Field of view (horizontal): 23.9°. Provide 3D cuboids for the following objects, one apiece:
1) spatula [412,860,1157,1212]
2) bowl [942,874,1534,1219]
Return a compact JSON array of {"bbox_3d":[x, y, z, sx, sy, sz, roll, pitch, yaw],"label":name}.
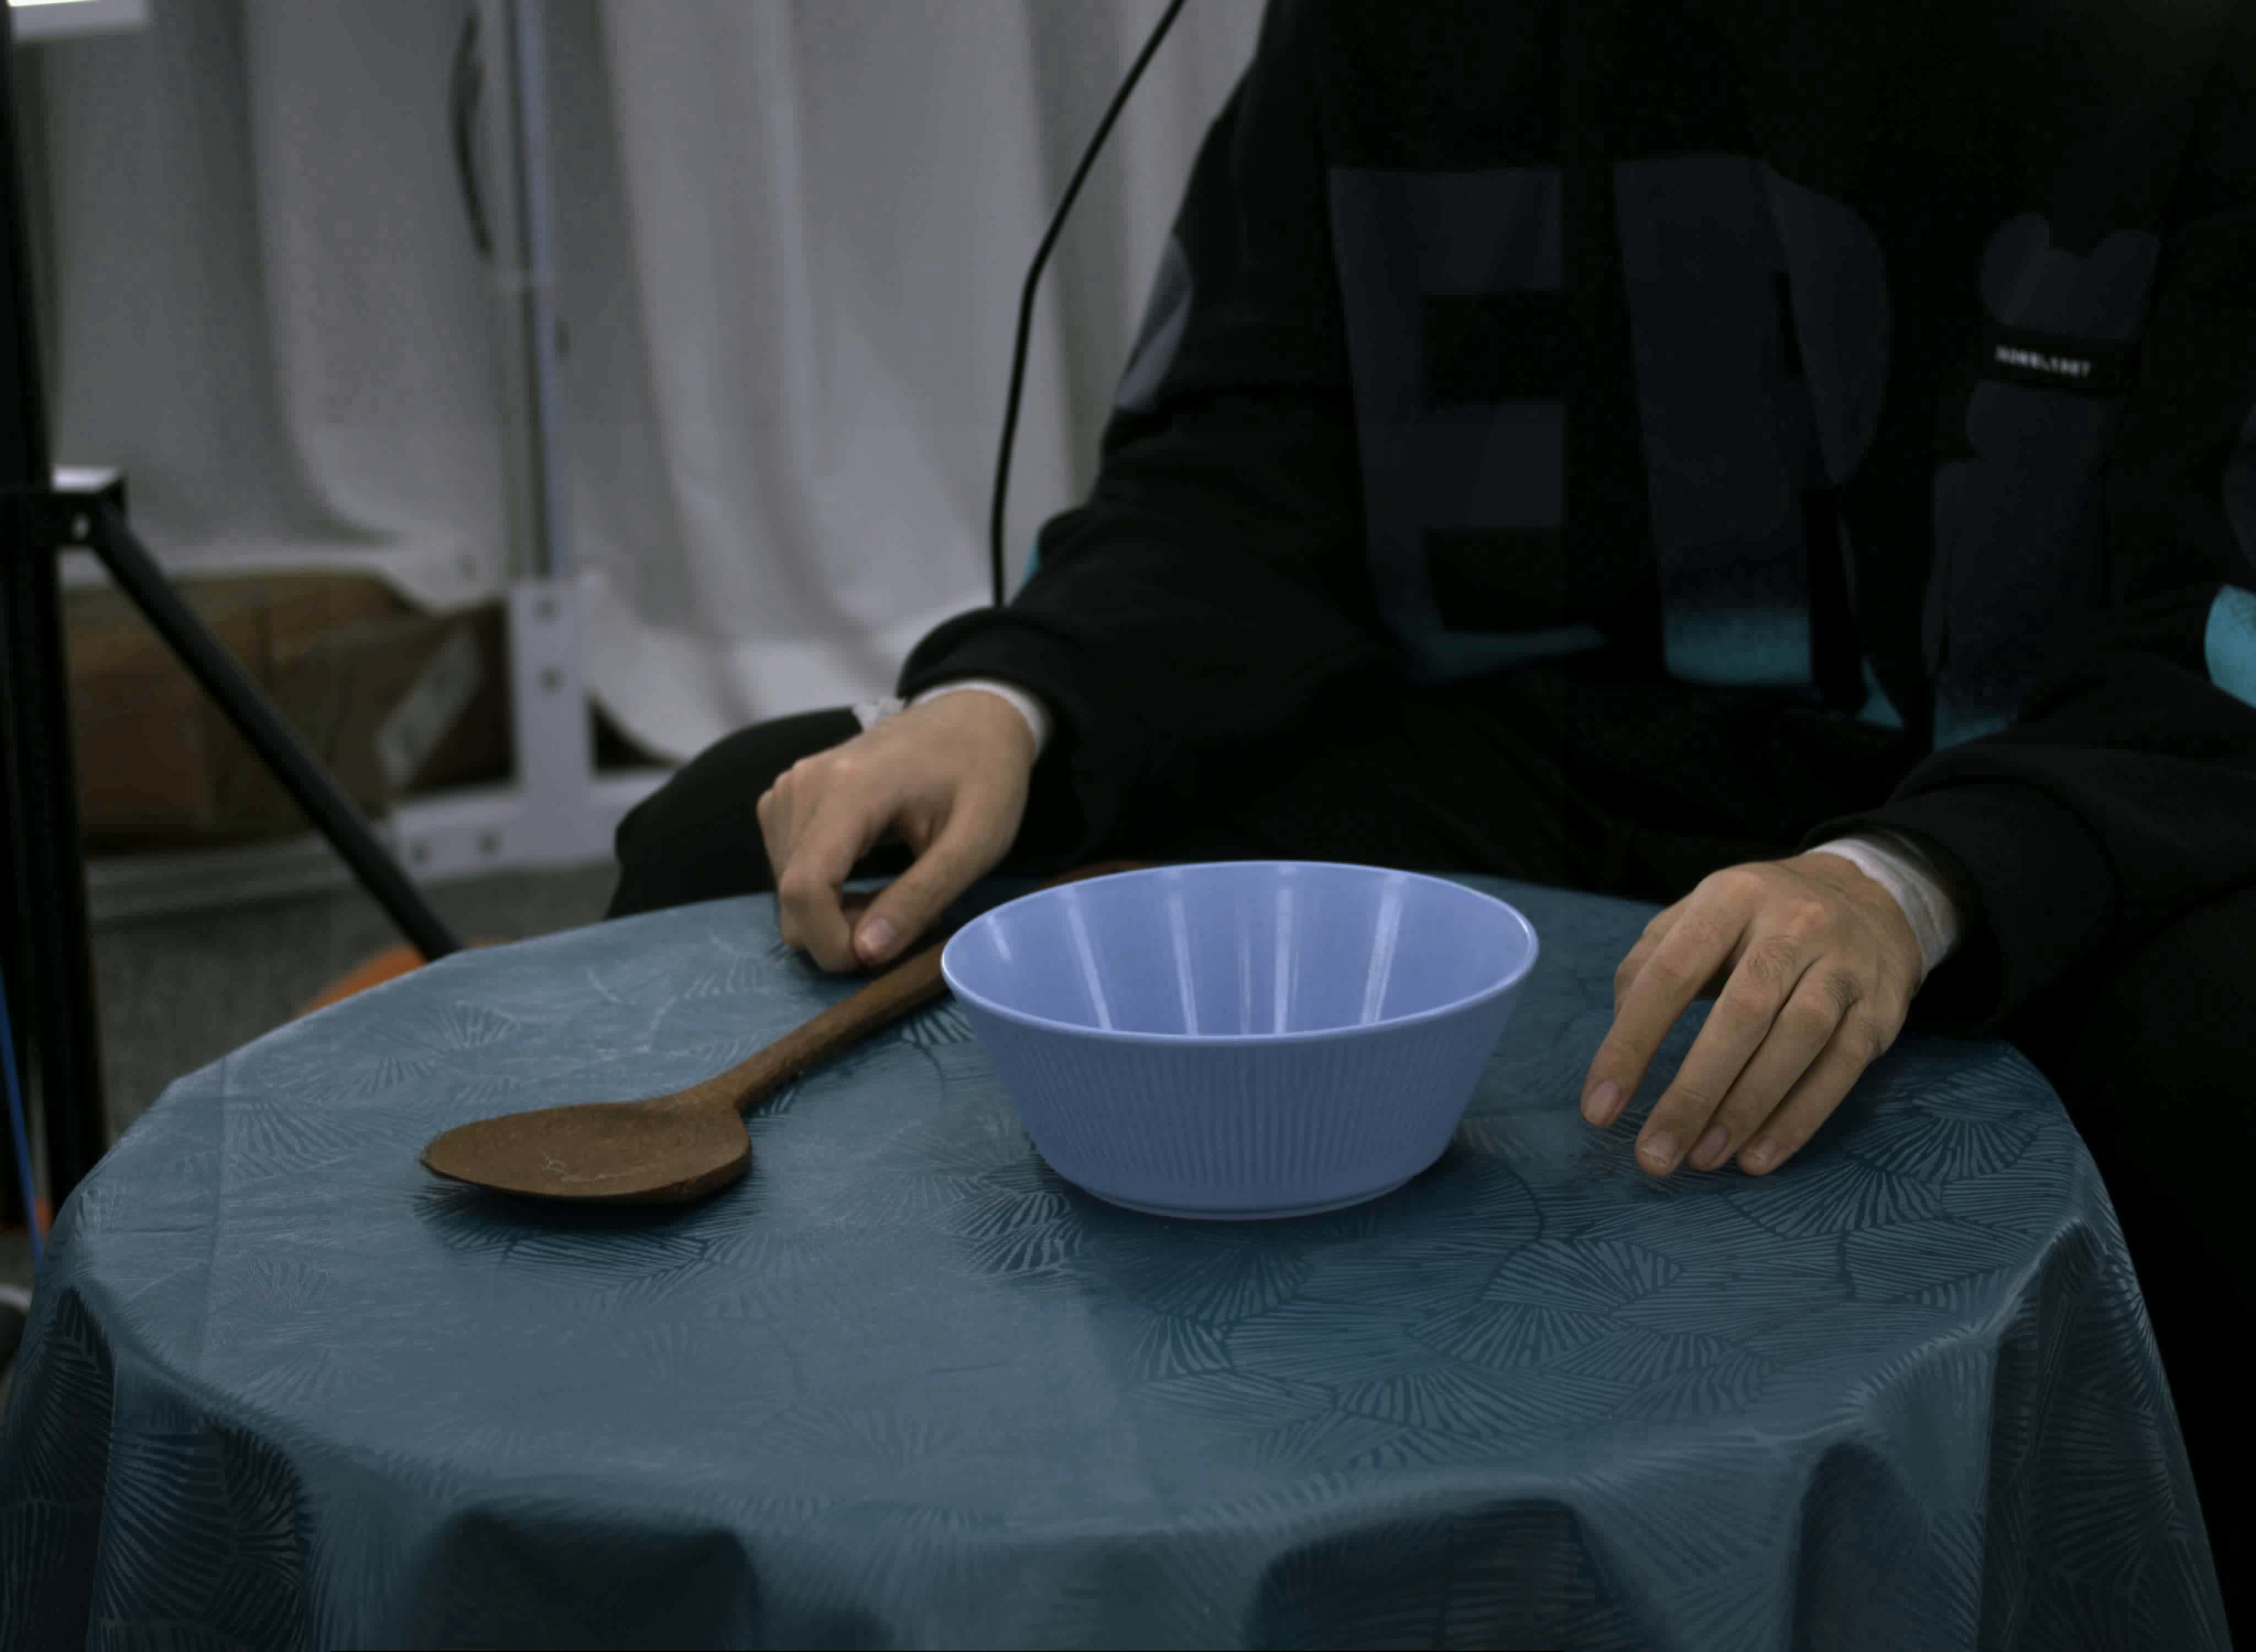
[{"bbox_3d":[-0.088,0.062,1.711,0.098,0.016,0.379,7,18,29],"label":"spatula"},{"bbox_3d":[0.033,0.067,1.570,0.175,0.070,0.177,-2,15,-1],"label":"bowl"}]
